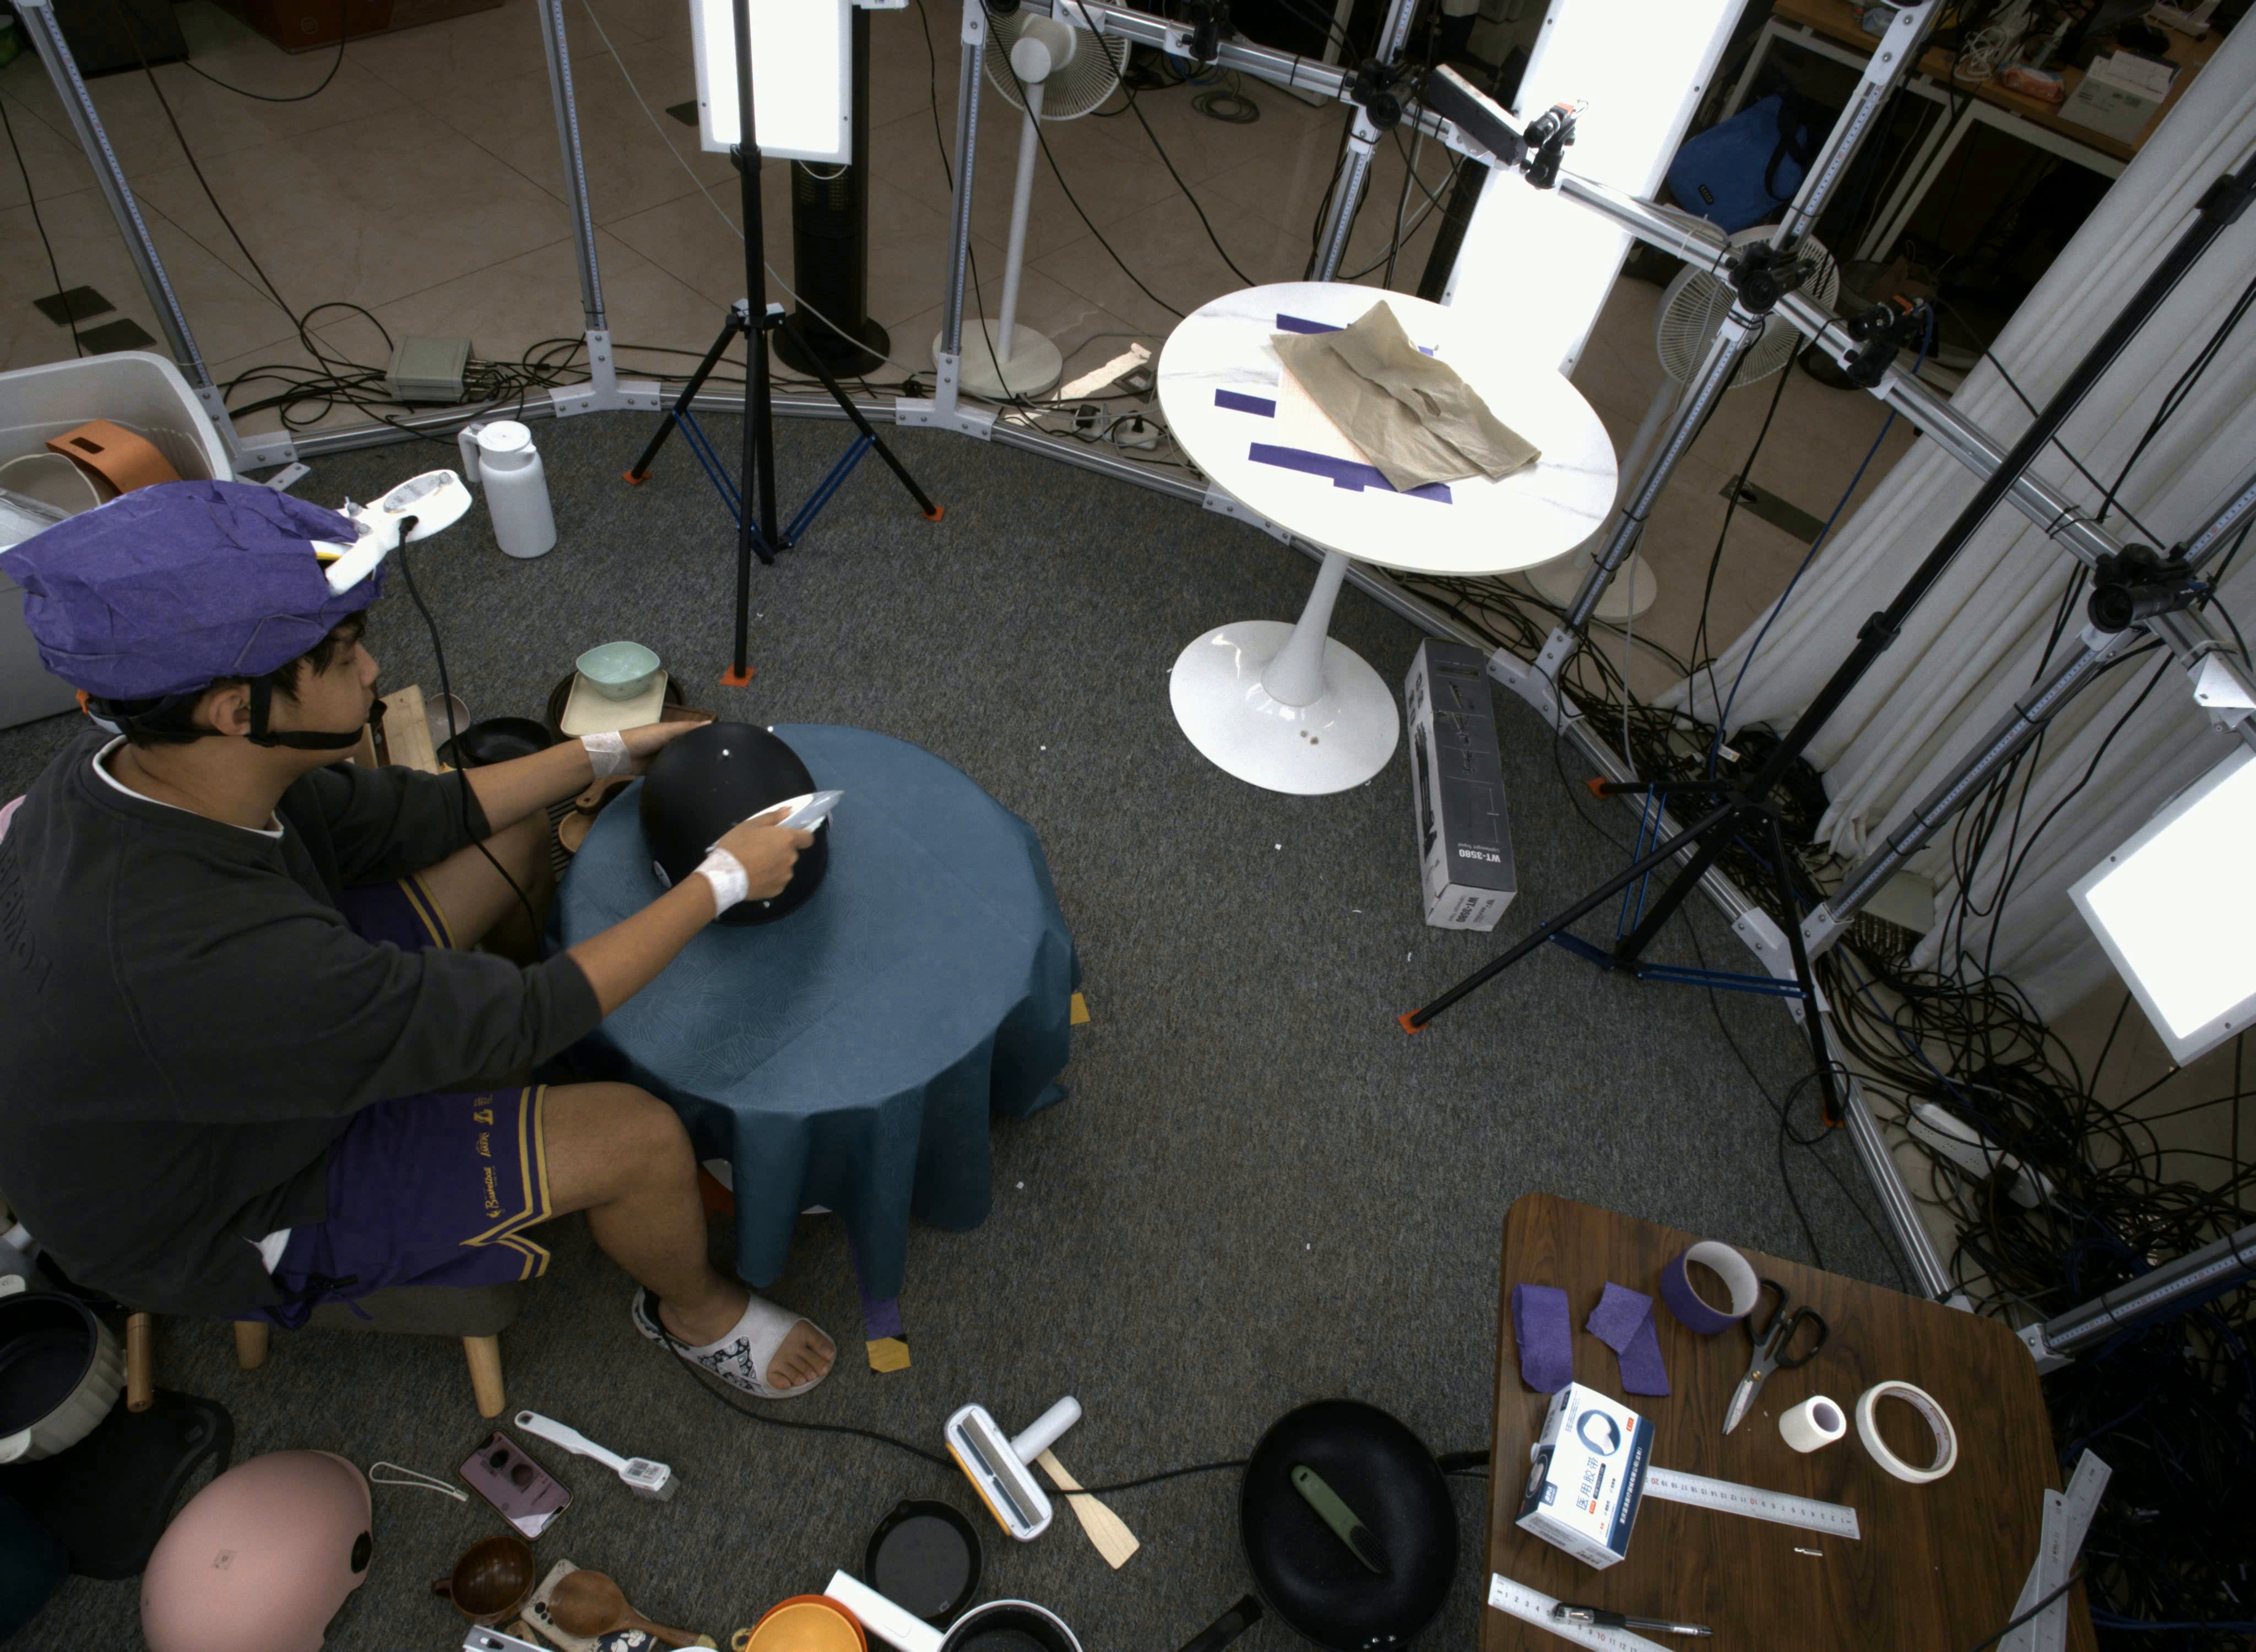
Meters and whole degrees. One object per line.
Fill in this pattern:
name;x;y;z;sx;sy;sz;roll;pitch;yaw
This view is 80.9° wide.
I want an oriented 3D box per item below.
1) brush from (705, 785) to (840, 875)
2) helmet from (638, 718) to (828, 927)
brush;-0.407;-0.009;1.532;0.176;0.092;0.063;-35;106;-34
helmet;-0.501;-0.027;1.626;0.231;0.170;0.267;-20;62;-25
